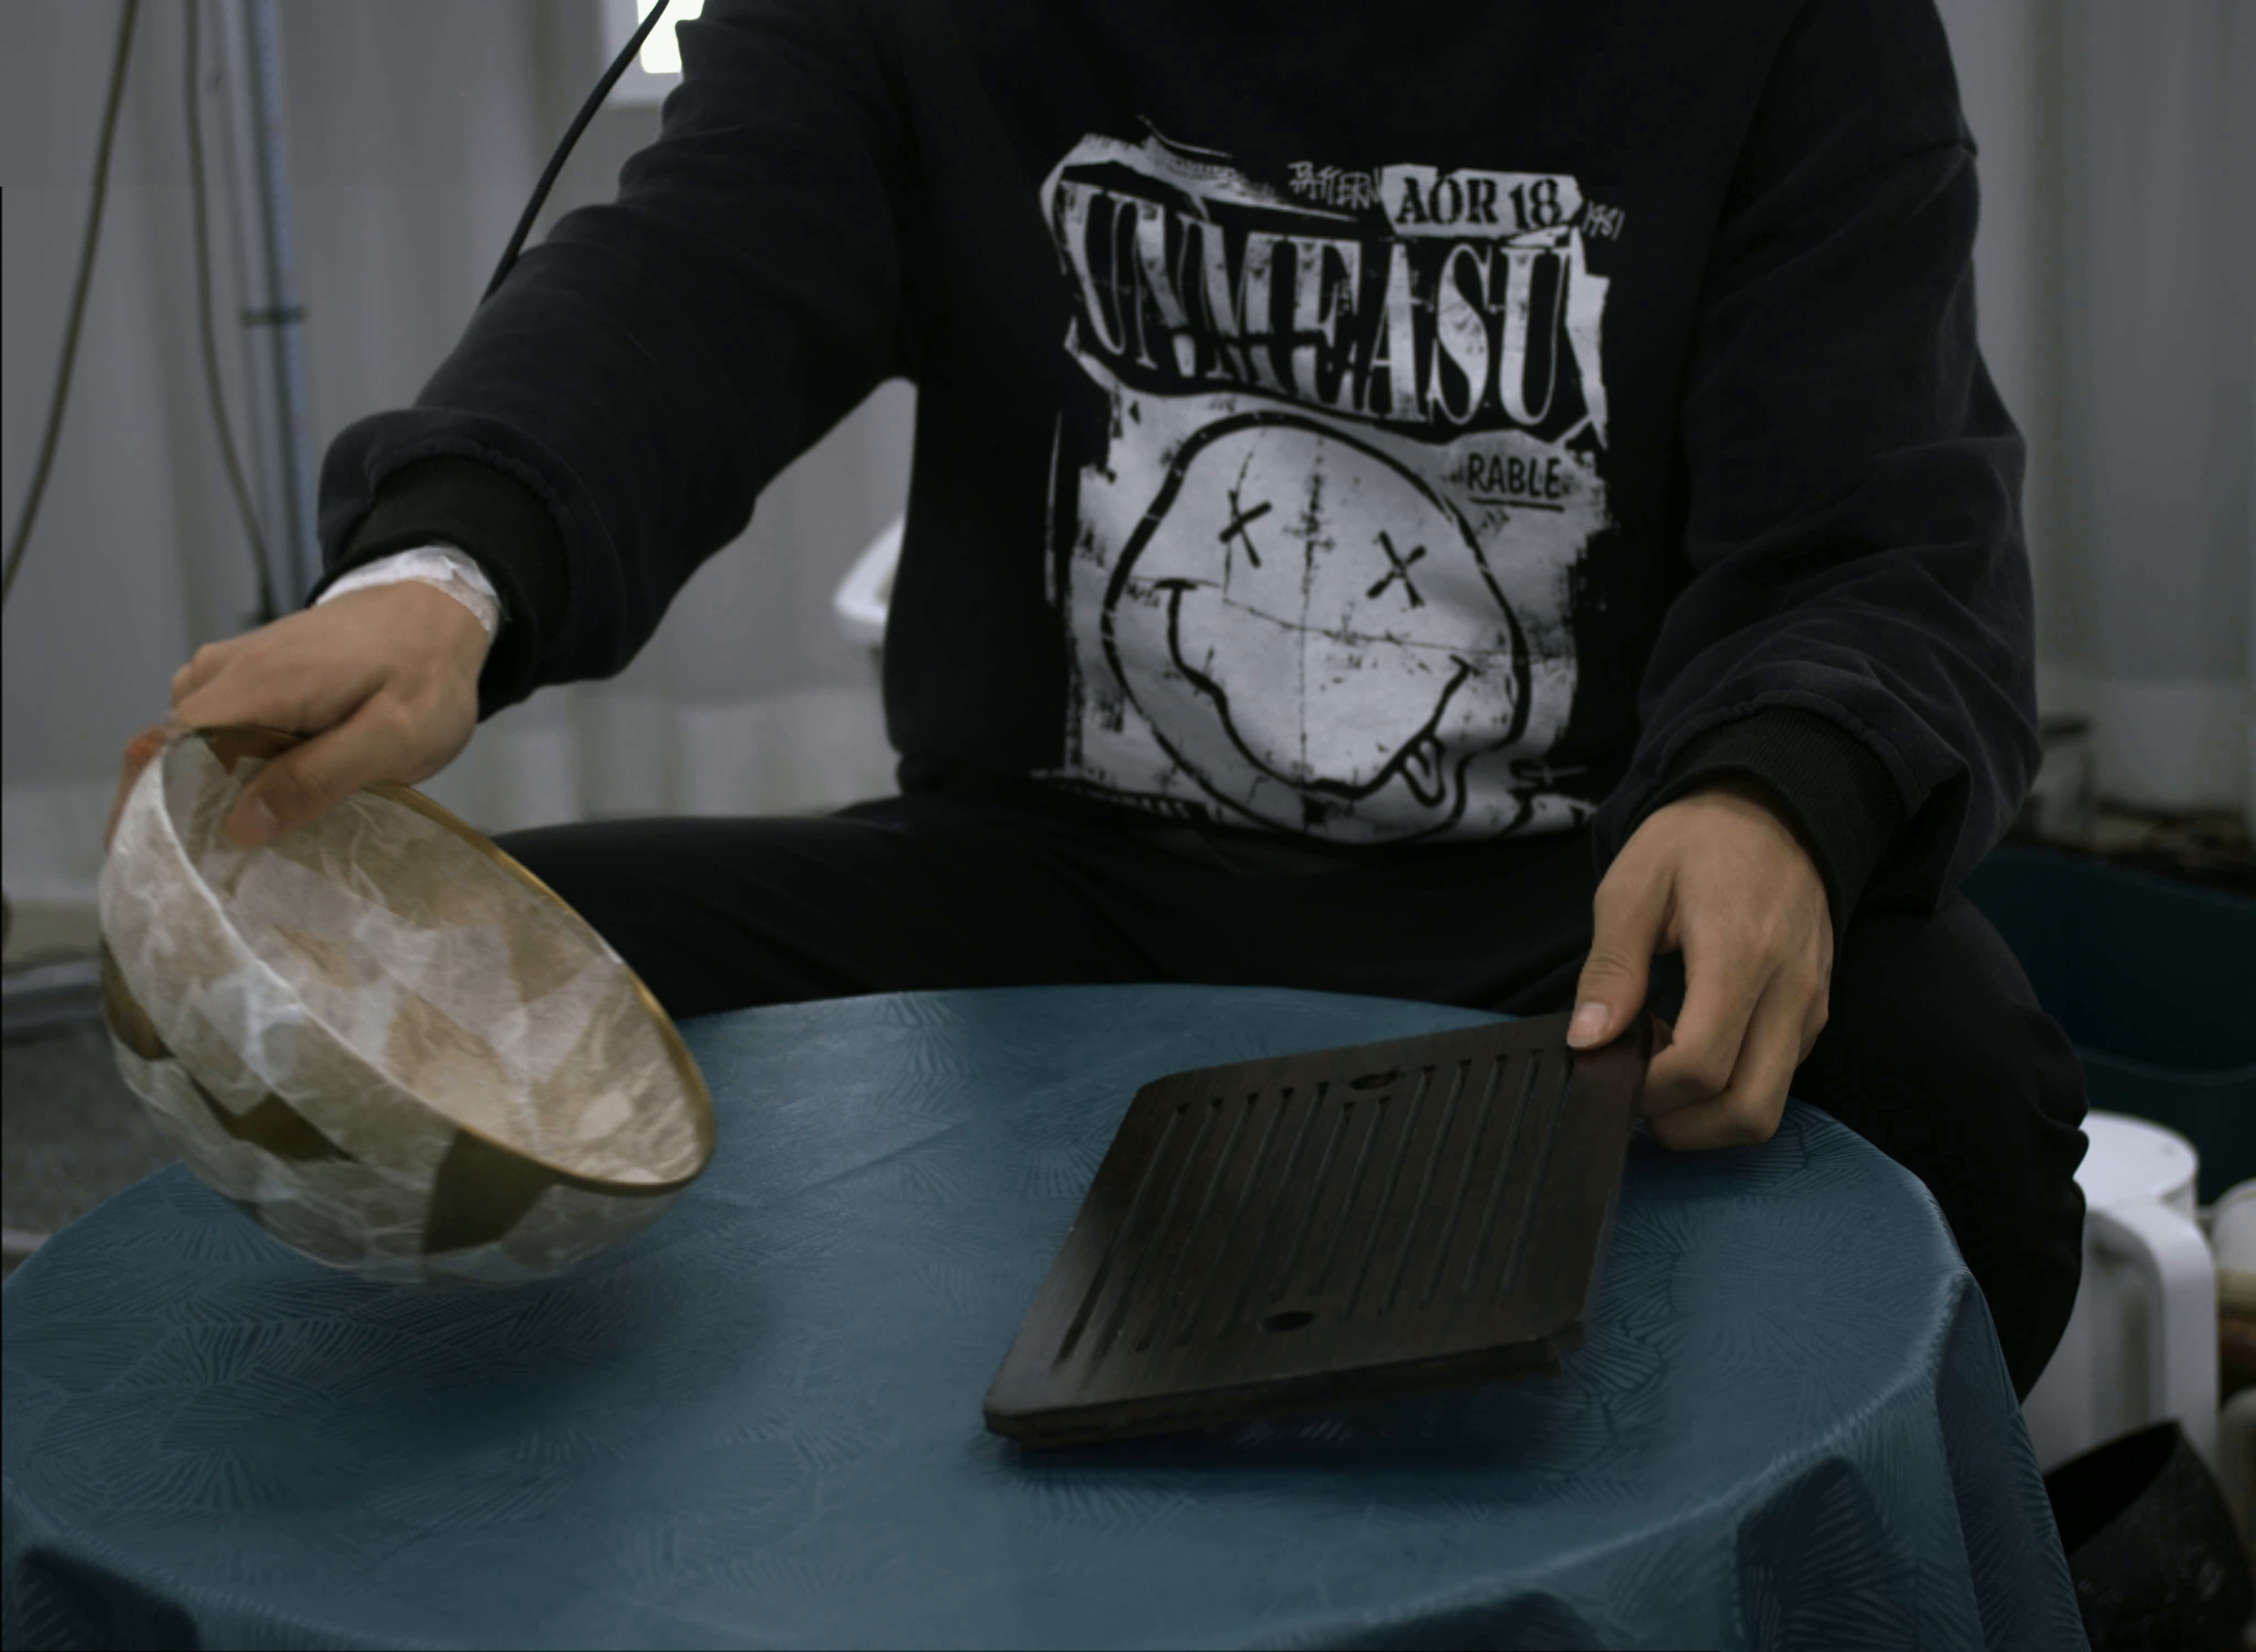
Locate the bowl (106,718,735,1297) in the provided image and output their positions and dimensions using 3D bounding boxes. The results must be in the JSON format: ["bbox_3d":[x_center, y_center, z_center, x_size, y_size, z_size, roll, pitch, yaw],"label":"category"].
[{"bbox_3d":[-0.221,0.072,1.613,0.213,0.094,0.216,36,15,-11],"label":"bowl"}]

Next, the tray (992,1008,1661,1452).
[{"bbox_3d":[0.067,0.116,1.615,0.170,0.018,0.307,-9,13,12],"label":"tray"}]
